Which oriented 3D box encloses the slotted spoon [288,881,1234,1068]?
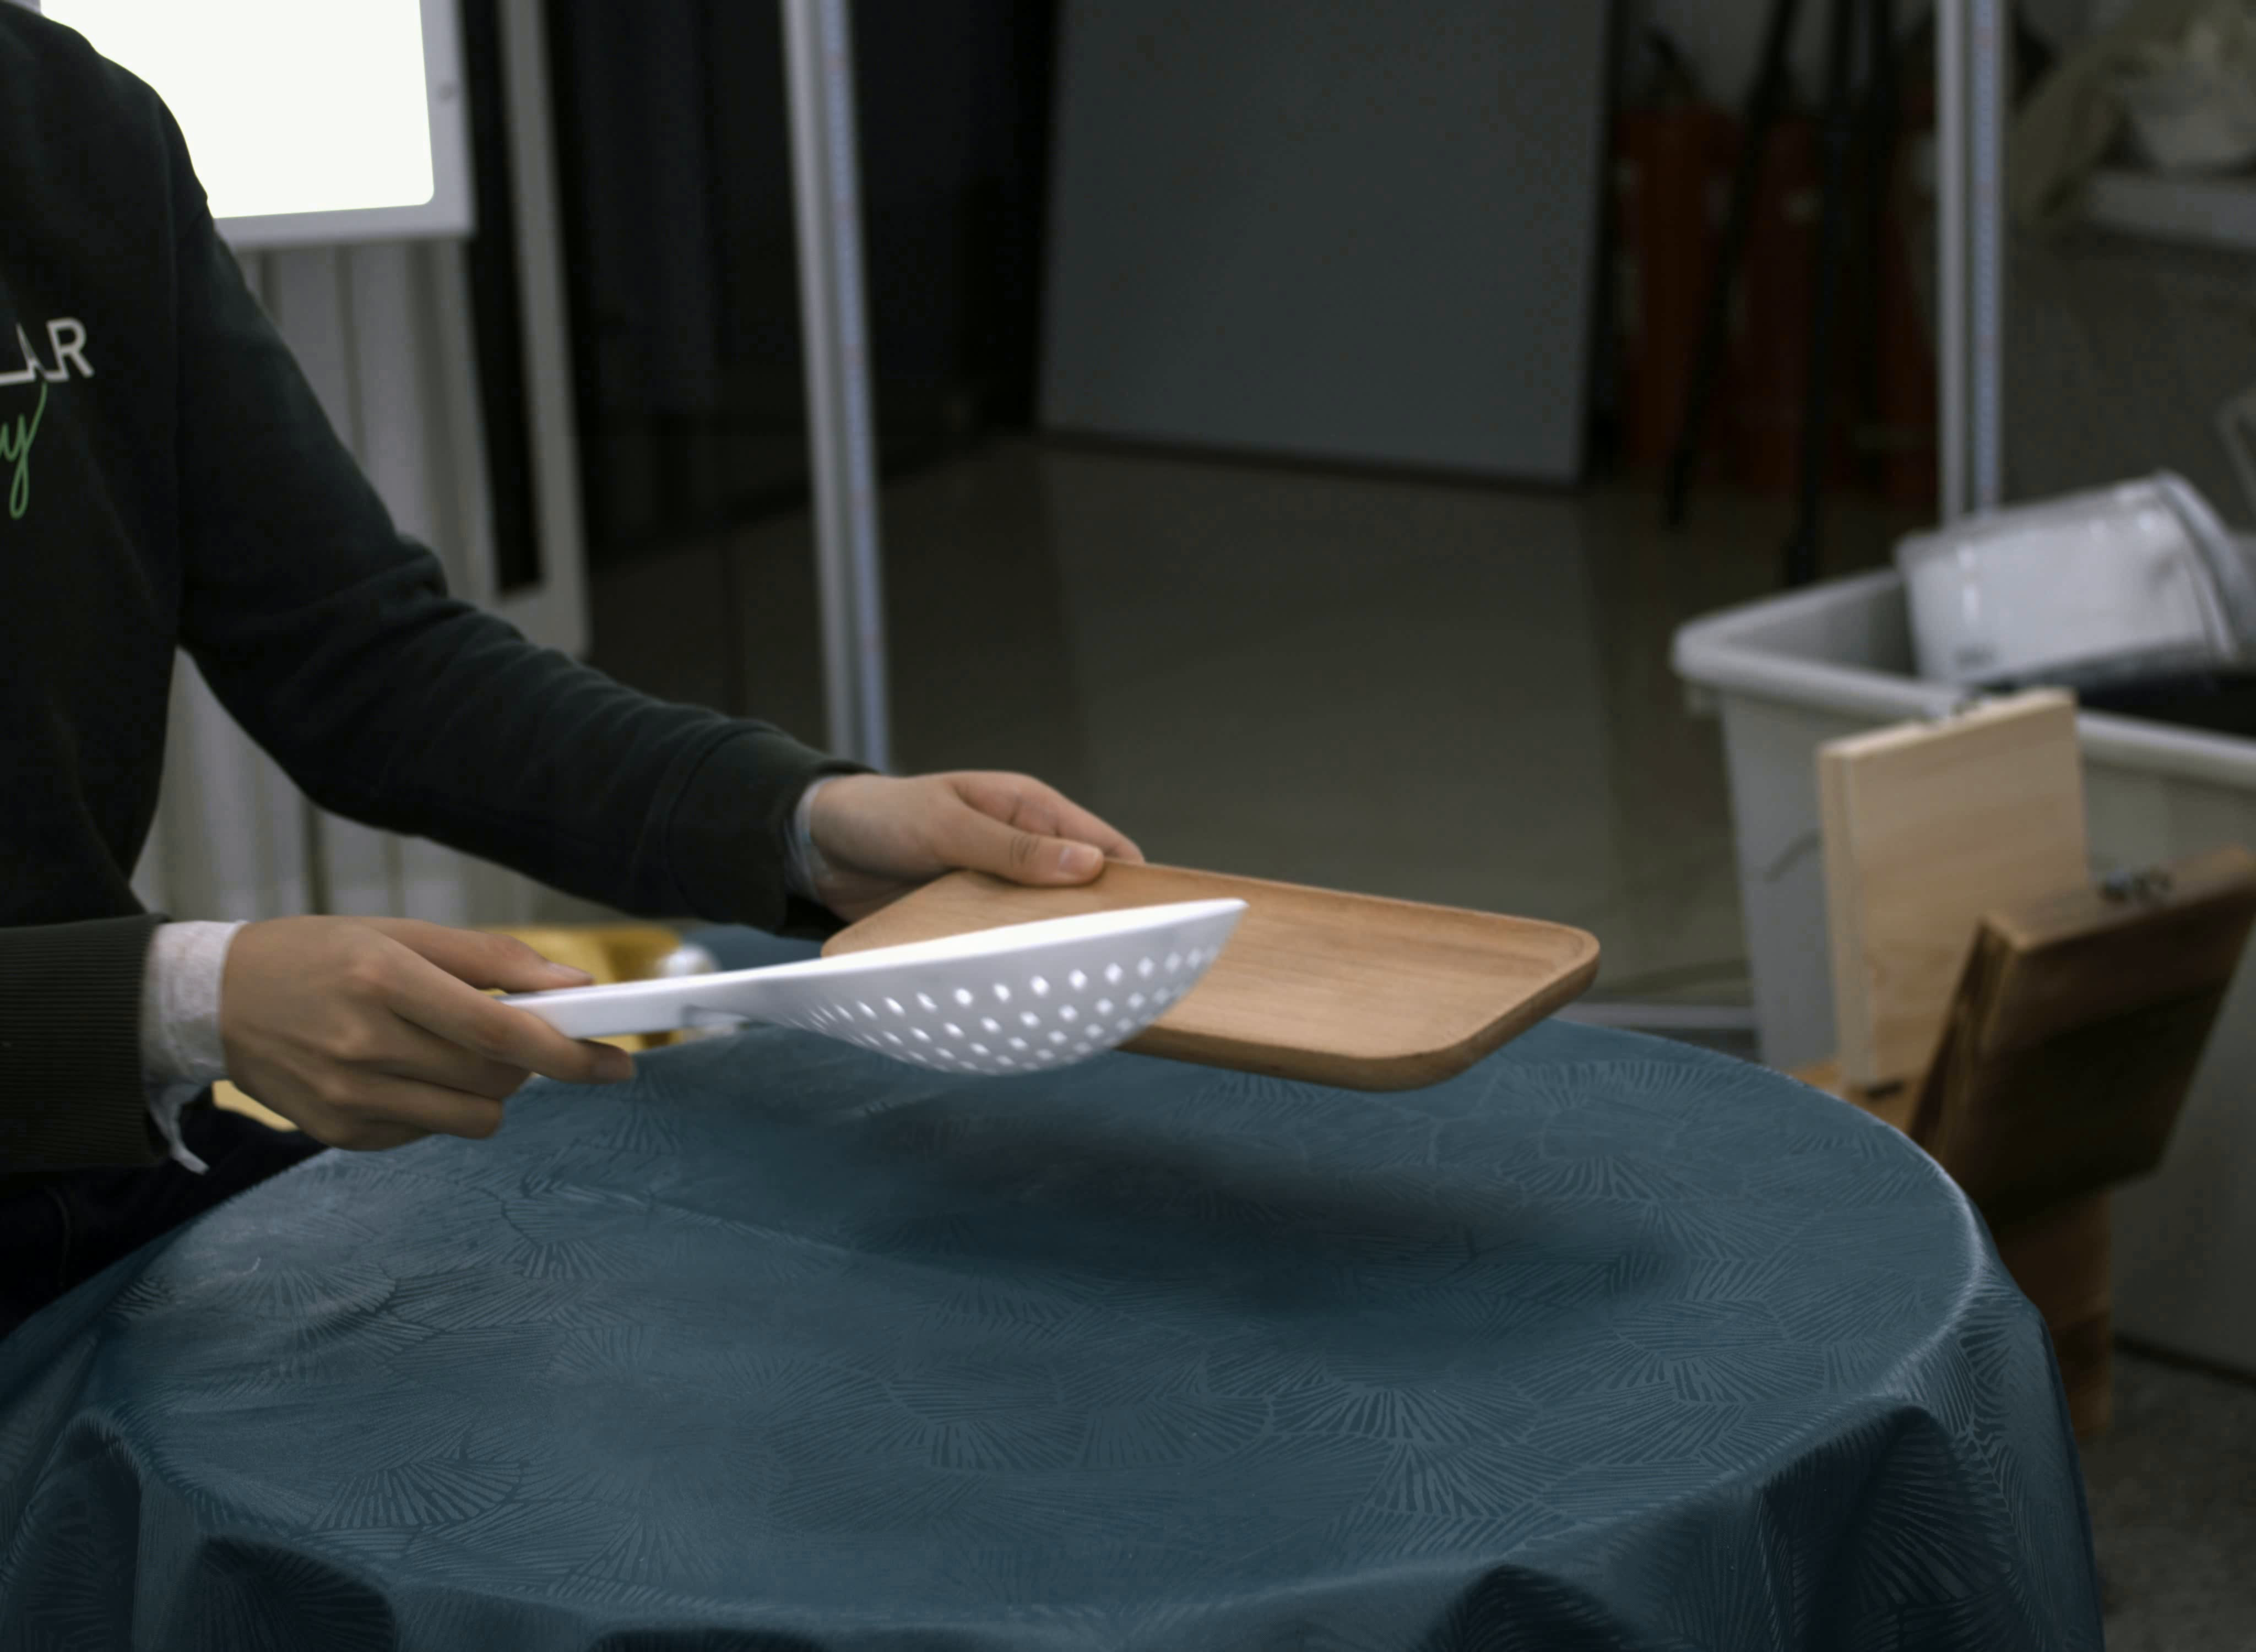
[{"bbox_3d":[-0.120,0.047,1.610,0.352,0.046,0.133,-3,3,37],"label":"slotted spoon"}]

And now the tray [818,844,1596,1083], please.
[{"bbox_3d":[0.024,0.043,1.741,0.252,0.023,0.128,6,20,37],"label":"tray"}]
